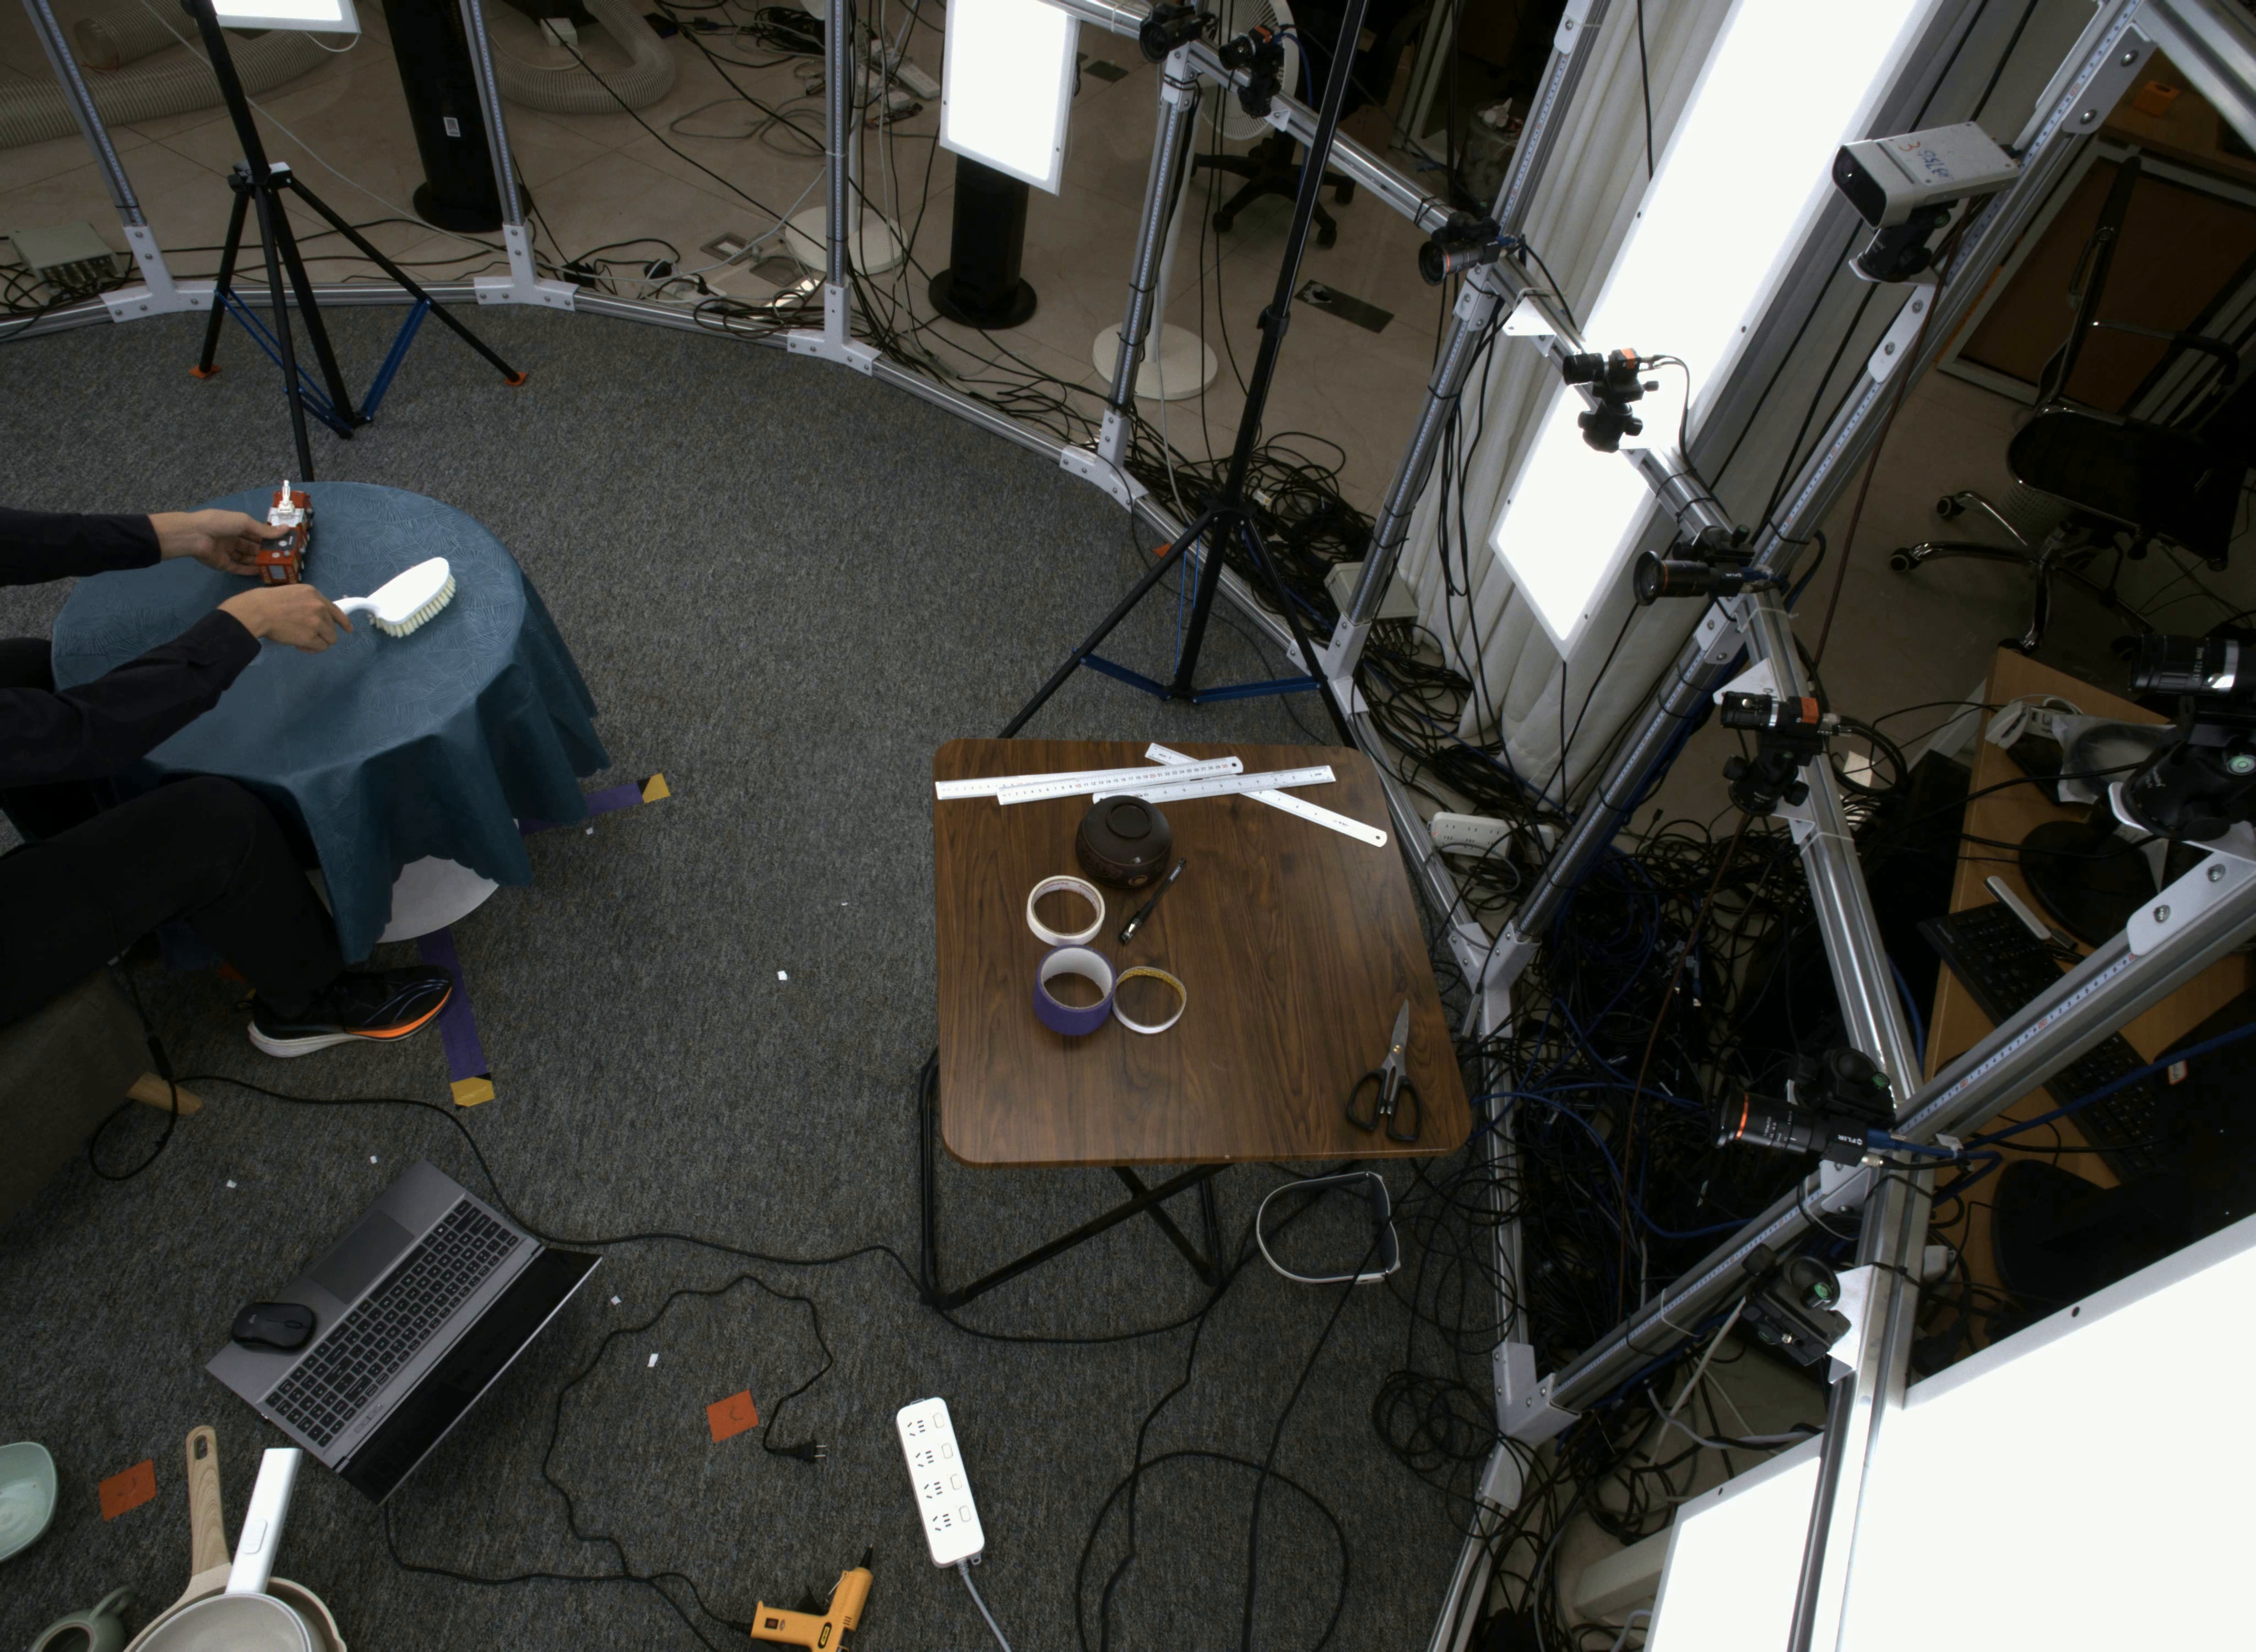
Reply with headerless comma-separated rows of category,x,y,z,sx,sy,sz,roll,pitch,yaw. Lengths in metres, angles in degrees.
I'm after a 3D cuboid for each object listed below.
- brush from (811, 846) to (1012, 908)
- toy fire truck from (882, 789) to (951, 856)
brush,-0.326,0.083,1.971,0.331,0.084,0.082,3,-16,-33
toy fire truck,-0.352,-0.002,2.176,0.053,0.072,0.167,15,27,14
